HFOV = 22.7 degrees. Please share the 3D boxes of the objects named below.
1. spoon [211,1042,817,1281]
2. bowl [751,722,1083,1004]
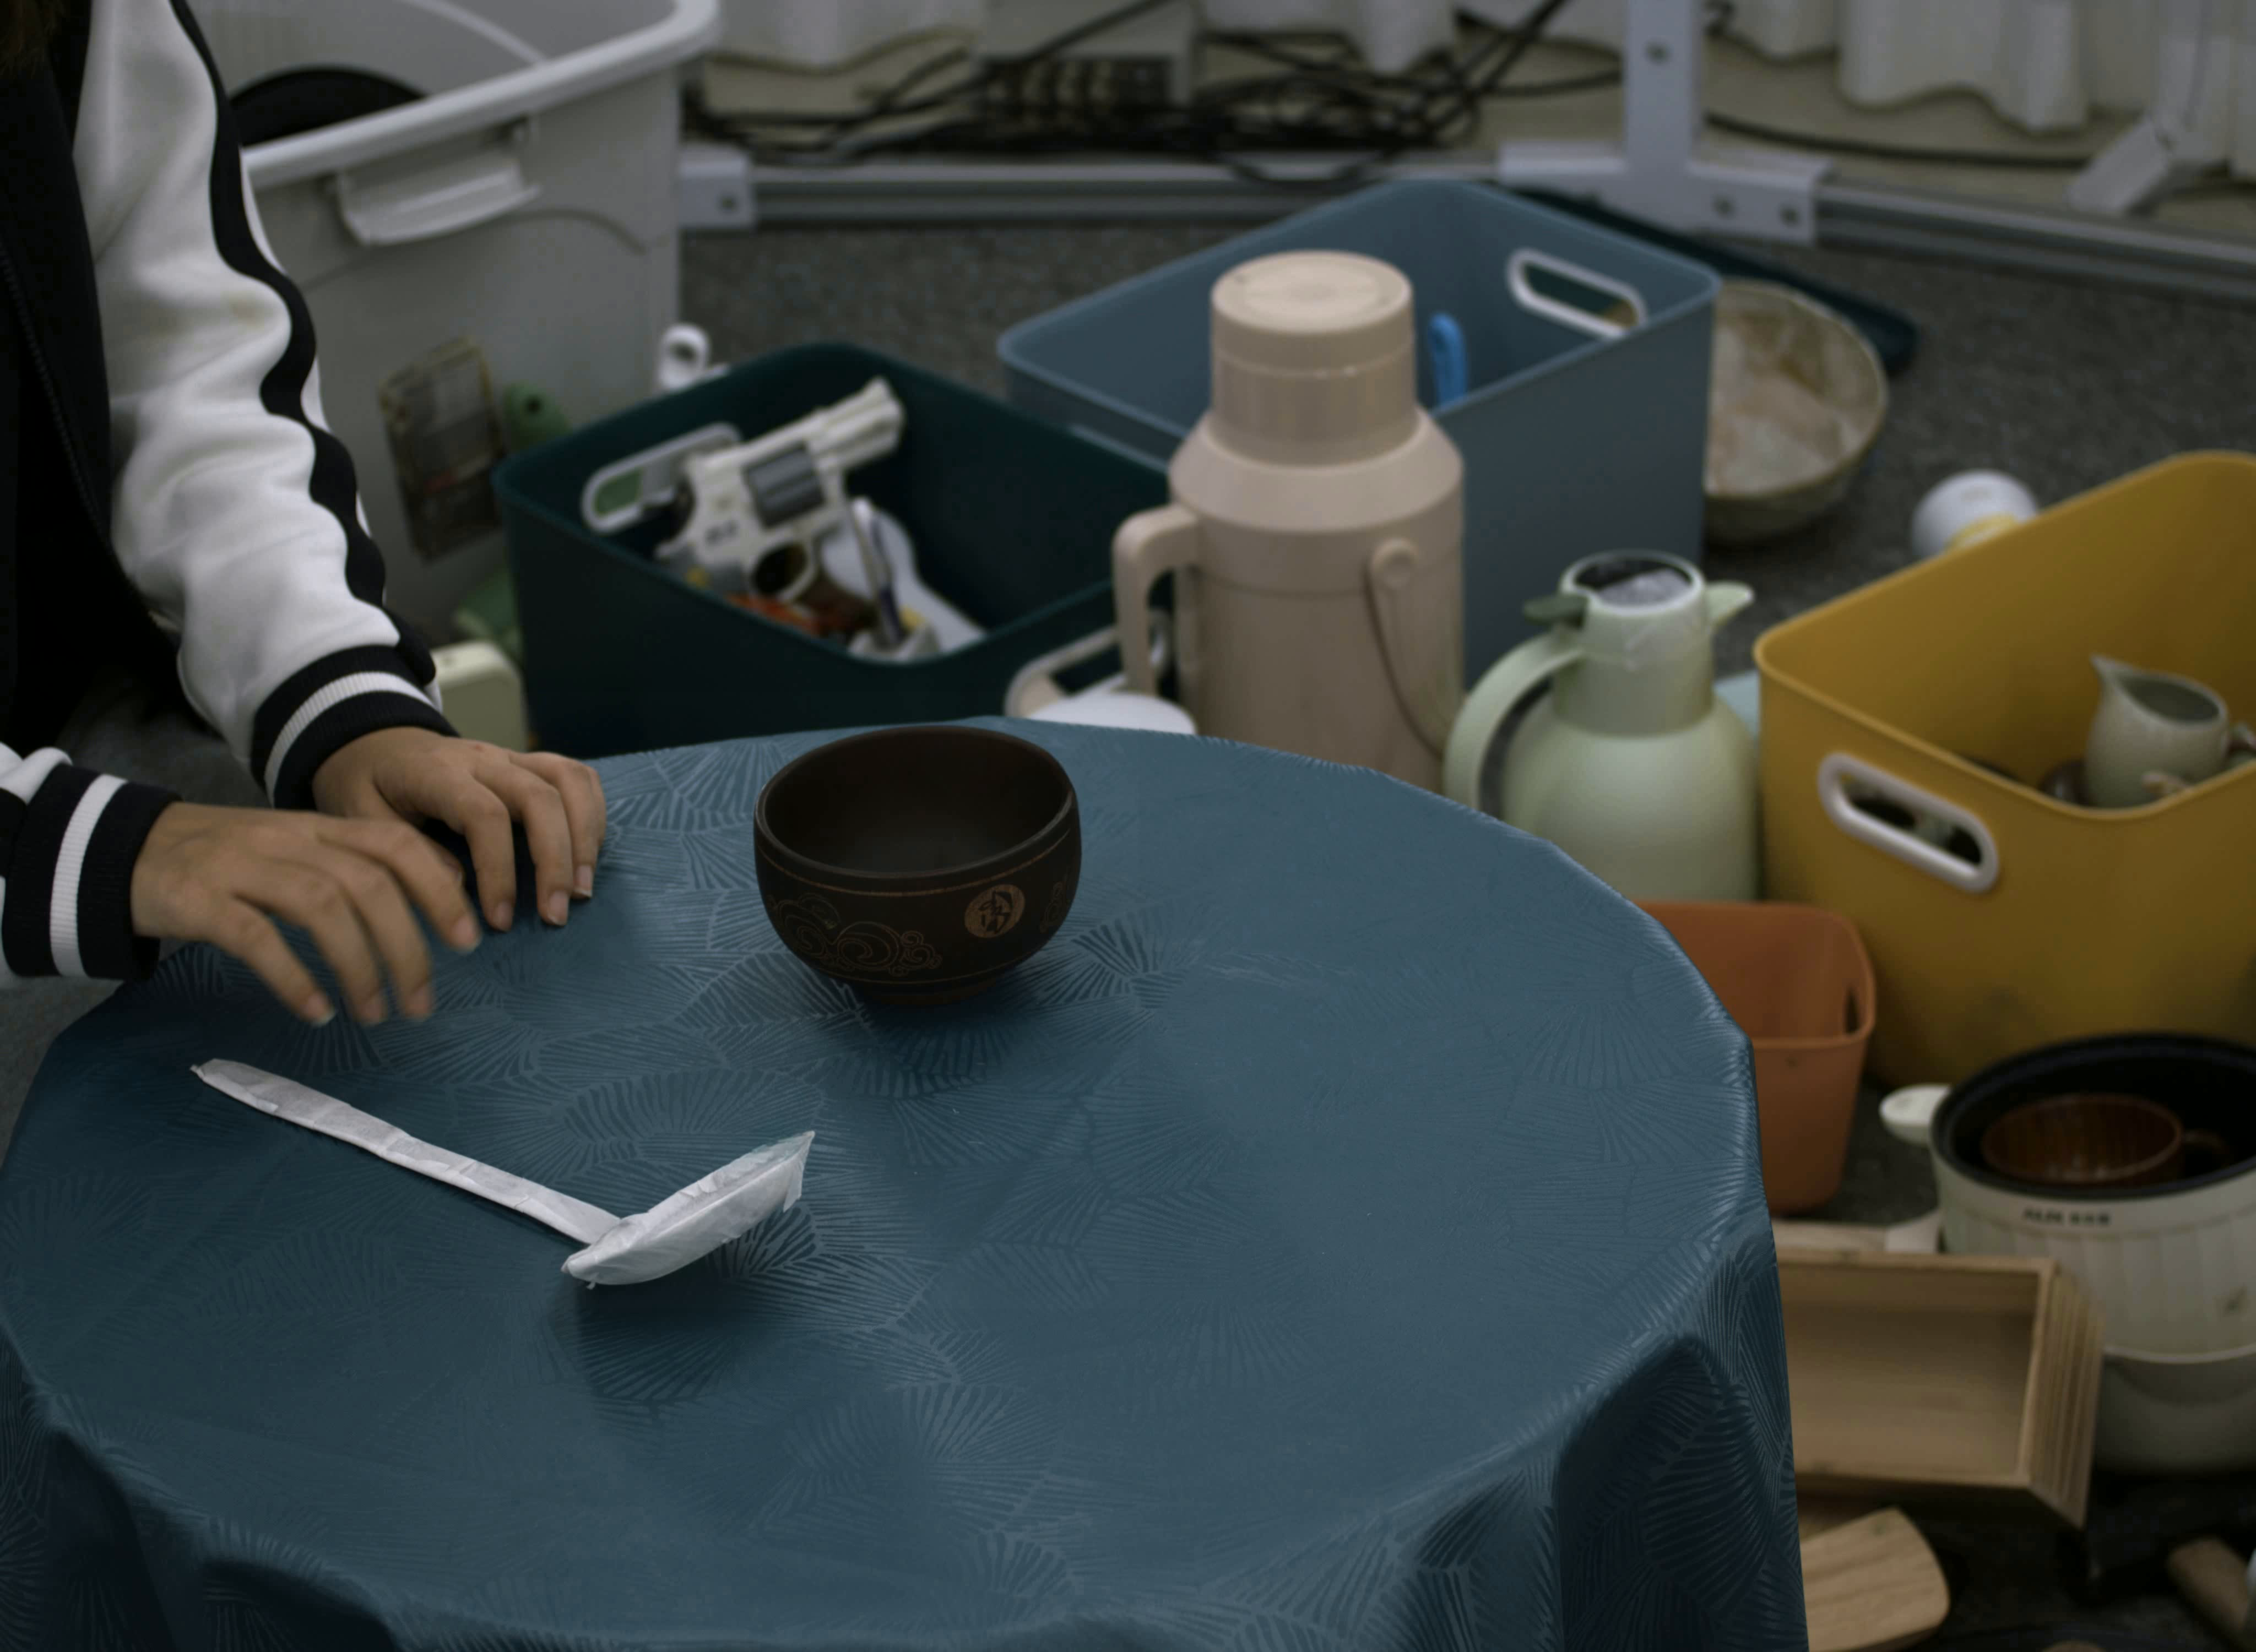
[{"bbox_3d":[-0.213,0.093,1.875,0.276,0.059,0.102,21,32,38],"label":"spoon"},{"bbox_3d":[-0.073,0.019,1.988,0.117,0.069,0.120,-2,26,2],"label":"bowl"}]
